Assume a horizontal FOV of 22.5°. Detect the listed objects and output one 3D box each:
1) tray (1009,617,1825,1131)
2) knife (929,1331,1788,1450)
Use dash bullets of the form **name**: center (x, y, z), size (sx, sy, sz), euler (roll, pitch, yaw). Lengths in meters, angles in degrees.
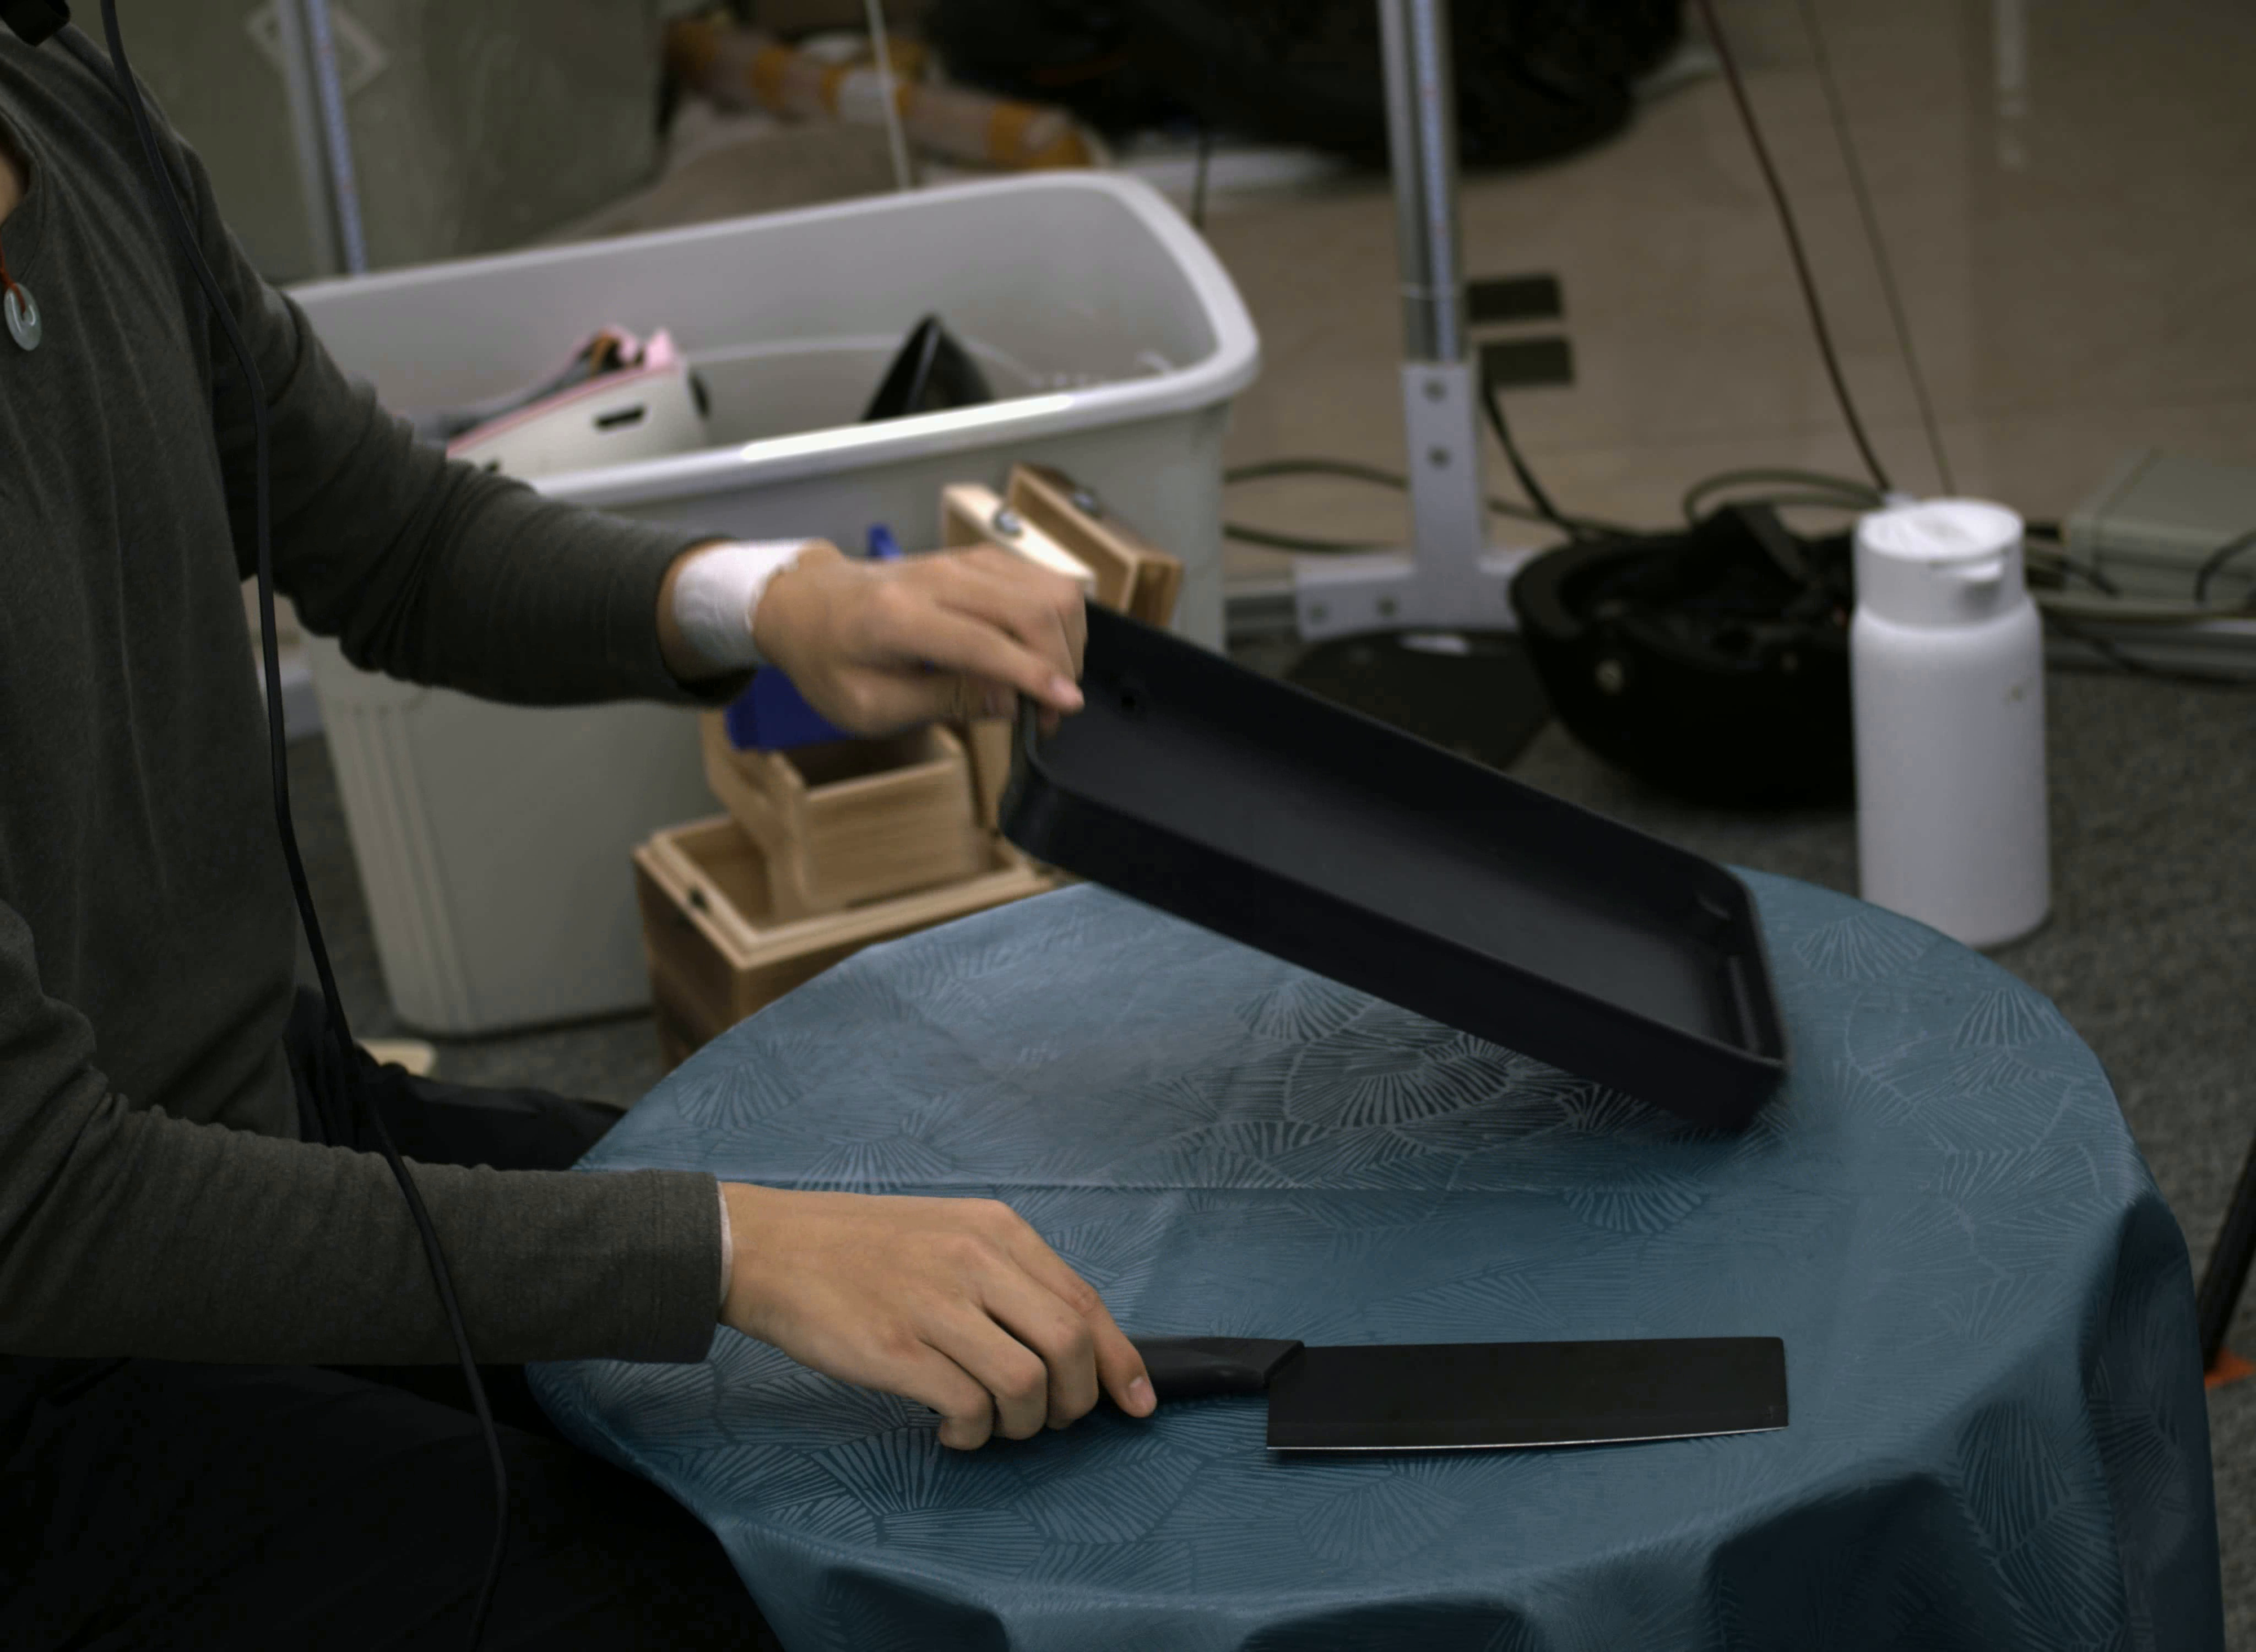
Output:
- **tray**: center (0.107, 0.017, 2.177), size (0.318, 0.037, 0.181), euler (19, 23, -12)
- **knife**: center (0.080, 0.197, 1.990), size (0.302, 0.021, 0.079), euler (-1, 27, 9)
